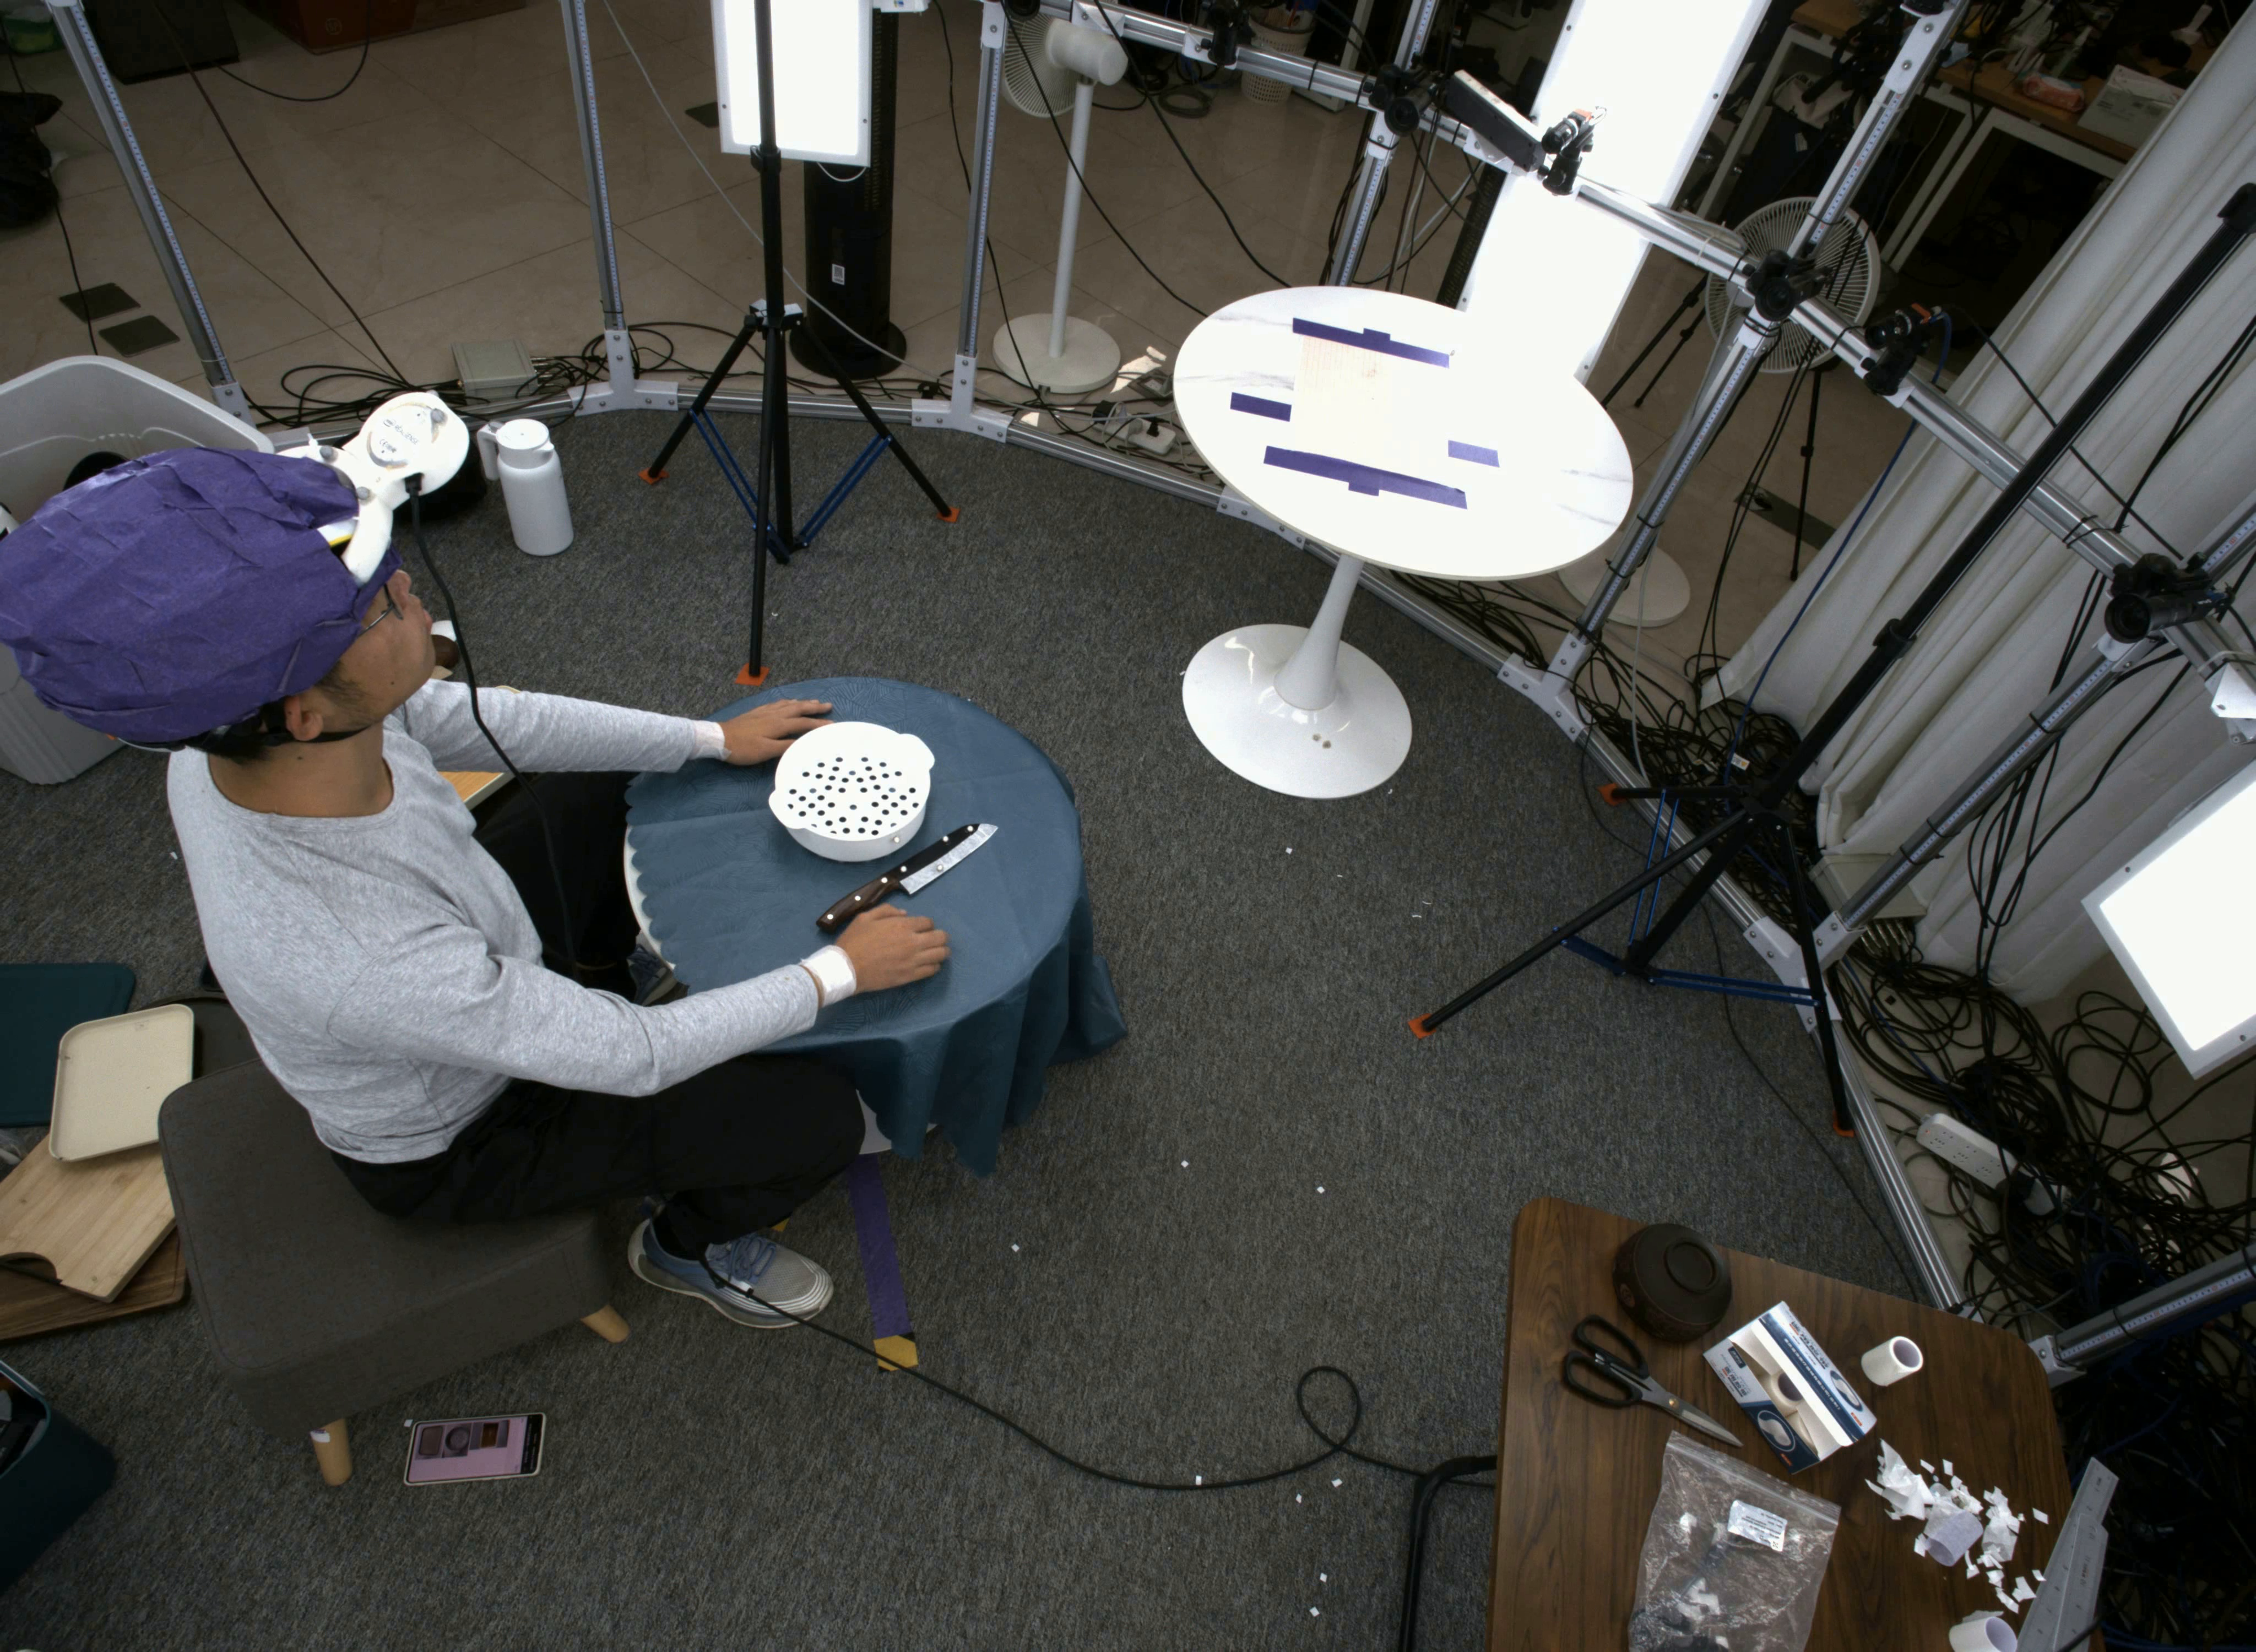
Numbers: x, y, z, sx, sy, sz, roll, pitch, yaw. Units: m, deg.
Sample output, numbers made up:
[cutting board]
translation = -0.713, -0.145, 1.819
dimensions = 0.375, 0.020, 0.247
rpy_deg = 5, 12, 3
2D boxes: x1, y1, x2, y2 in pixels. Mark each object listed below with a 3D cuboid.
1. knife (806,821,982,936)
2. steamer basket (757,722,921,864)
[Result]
[knife]
translation = -0.302, 0.063, 1.710
dimensions = 0.290, 0.020, 0.049
rpy_deg = -34, 73, -35
[steamer basket]
translation = -0.382, -0.044, 1.736
dimensions = 0.231, 0.071, 0.197
rpy_deg = -30, 65, -30
